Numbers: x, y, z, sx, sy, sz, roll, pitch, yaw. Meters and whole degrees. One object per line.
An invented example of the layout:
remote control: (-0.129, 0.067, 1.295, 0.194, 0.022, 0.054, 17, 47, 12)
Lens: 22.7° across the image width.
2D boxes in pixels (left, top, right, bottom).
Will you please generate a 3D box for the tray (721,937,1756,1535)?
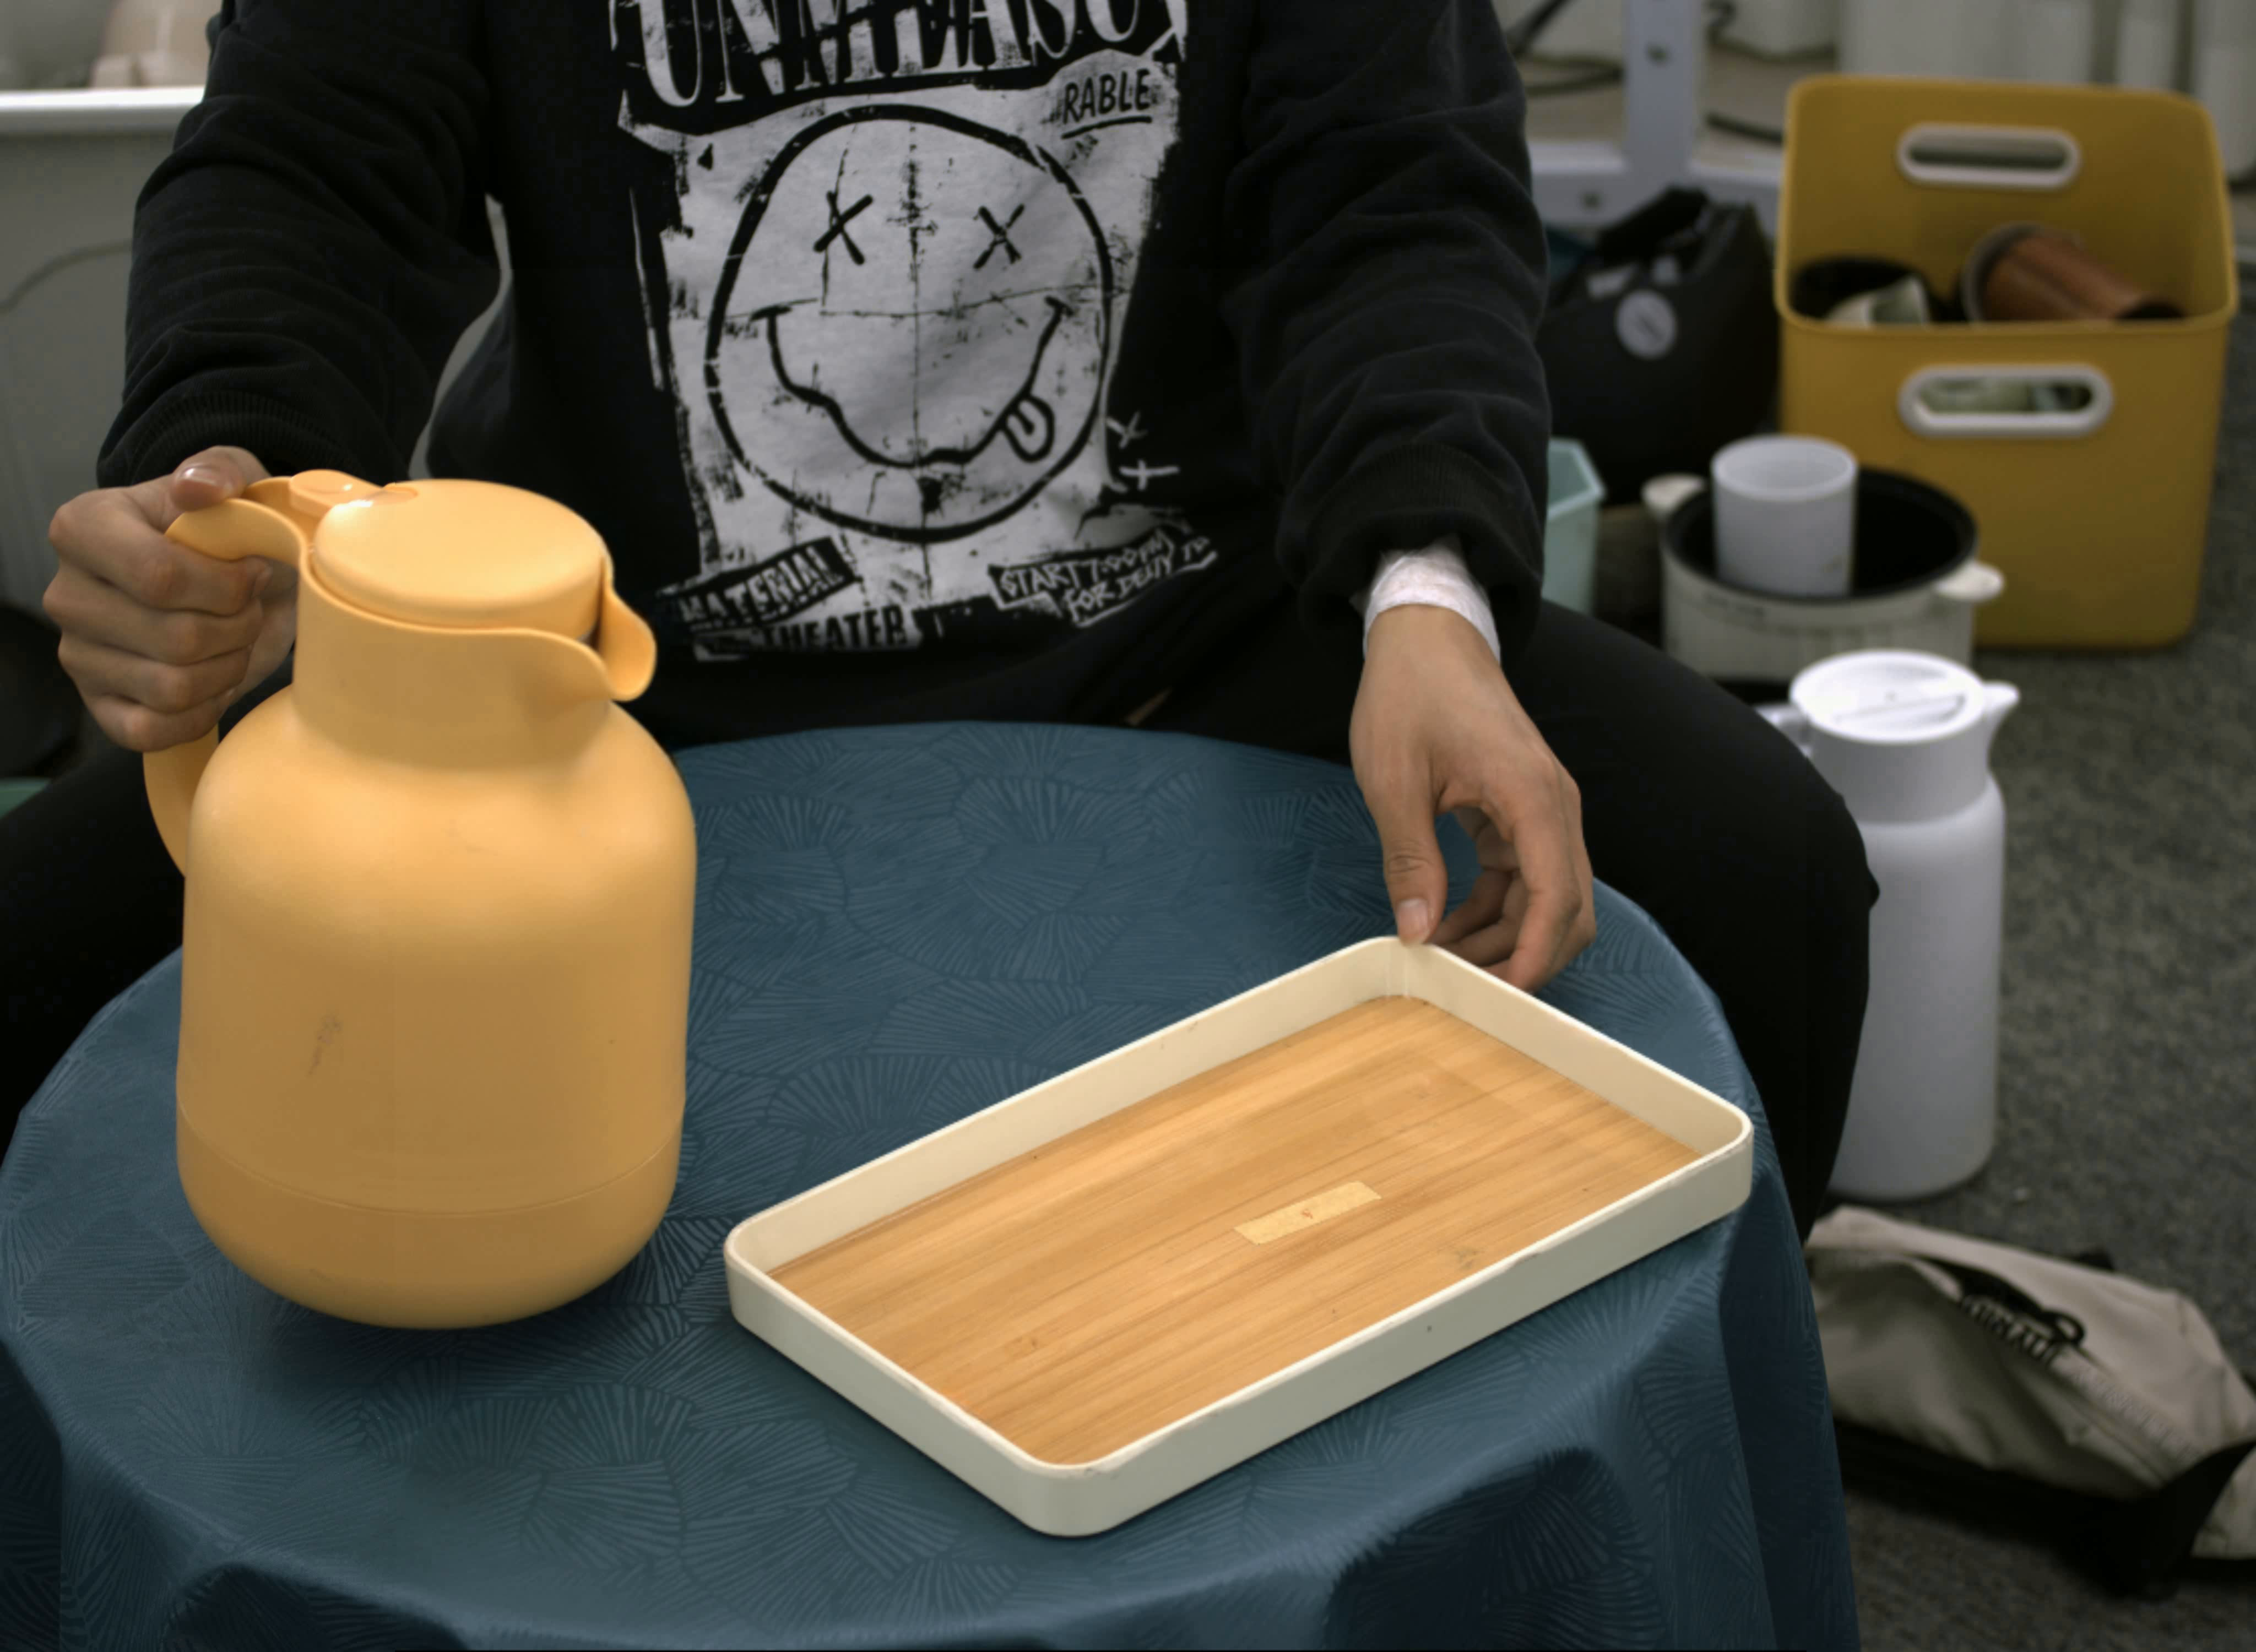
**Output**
tray: (0.037, 0.126, 1.817, 0.303, 0.027, 0.192, -22, 33, -33)

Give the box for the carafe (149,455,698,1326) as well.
carafe: (-0.231, 0.011, 1.788, 0.202, 0.257, 0.165, 25, 28, 30)
